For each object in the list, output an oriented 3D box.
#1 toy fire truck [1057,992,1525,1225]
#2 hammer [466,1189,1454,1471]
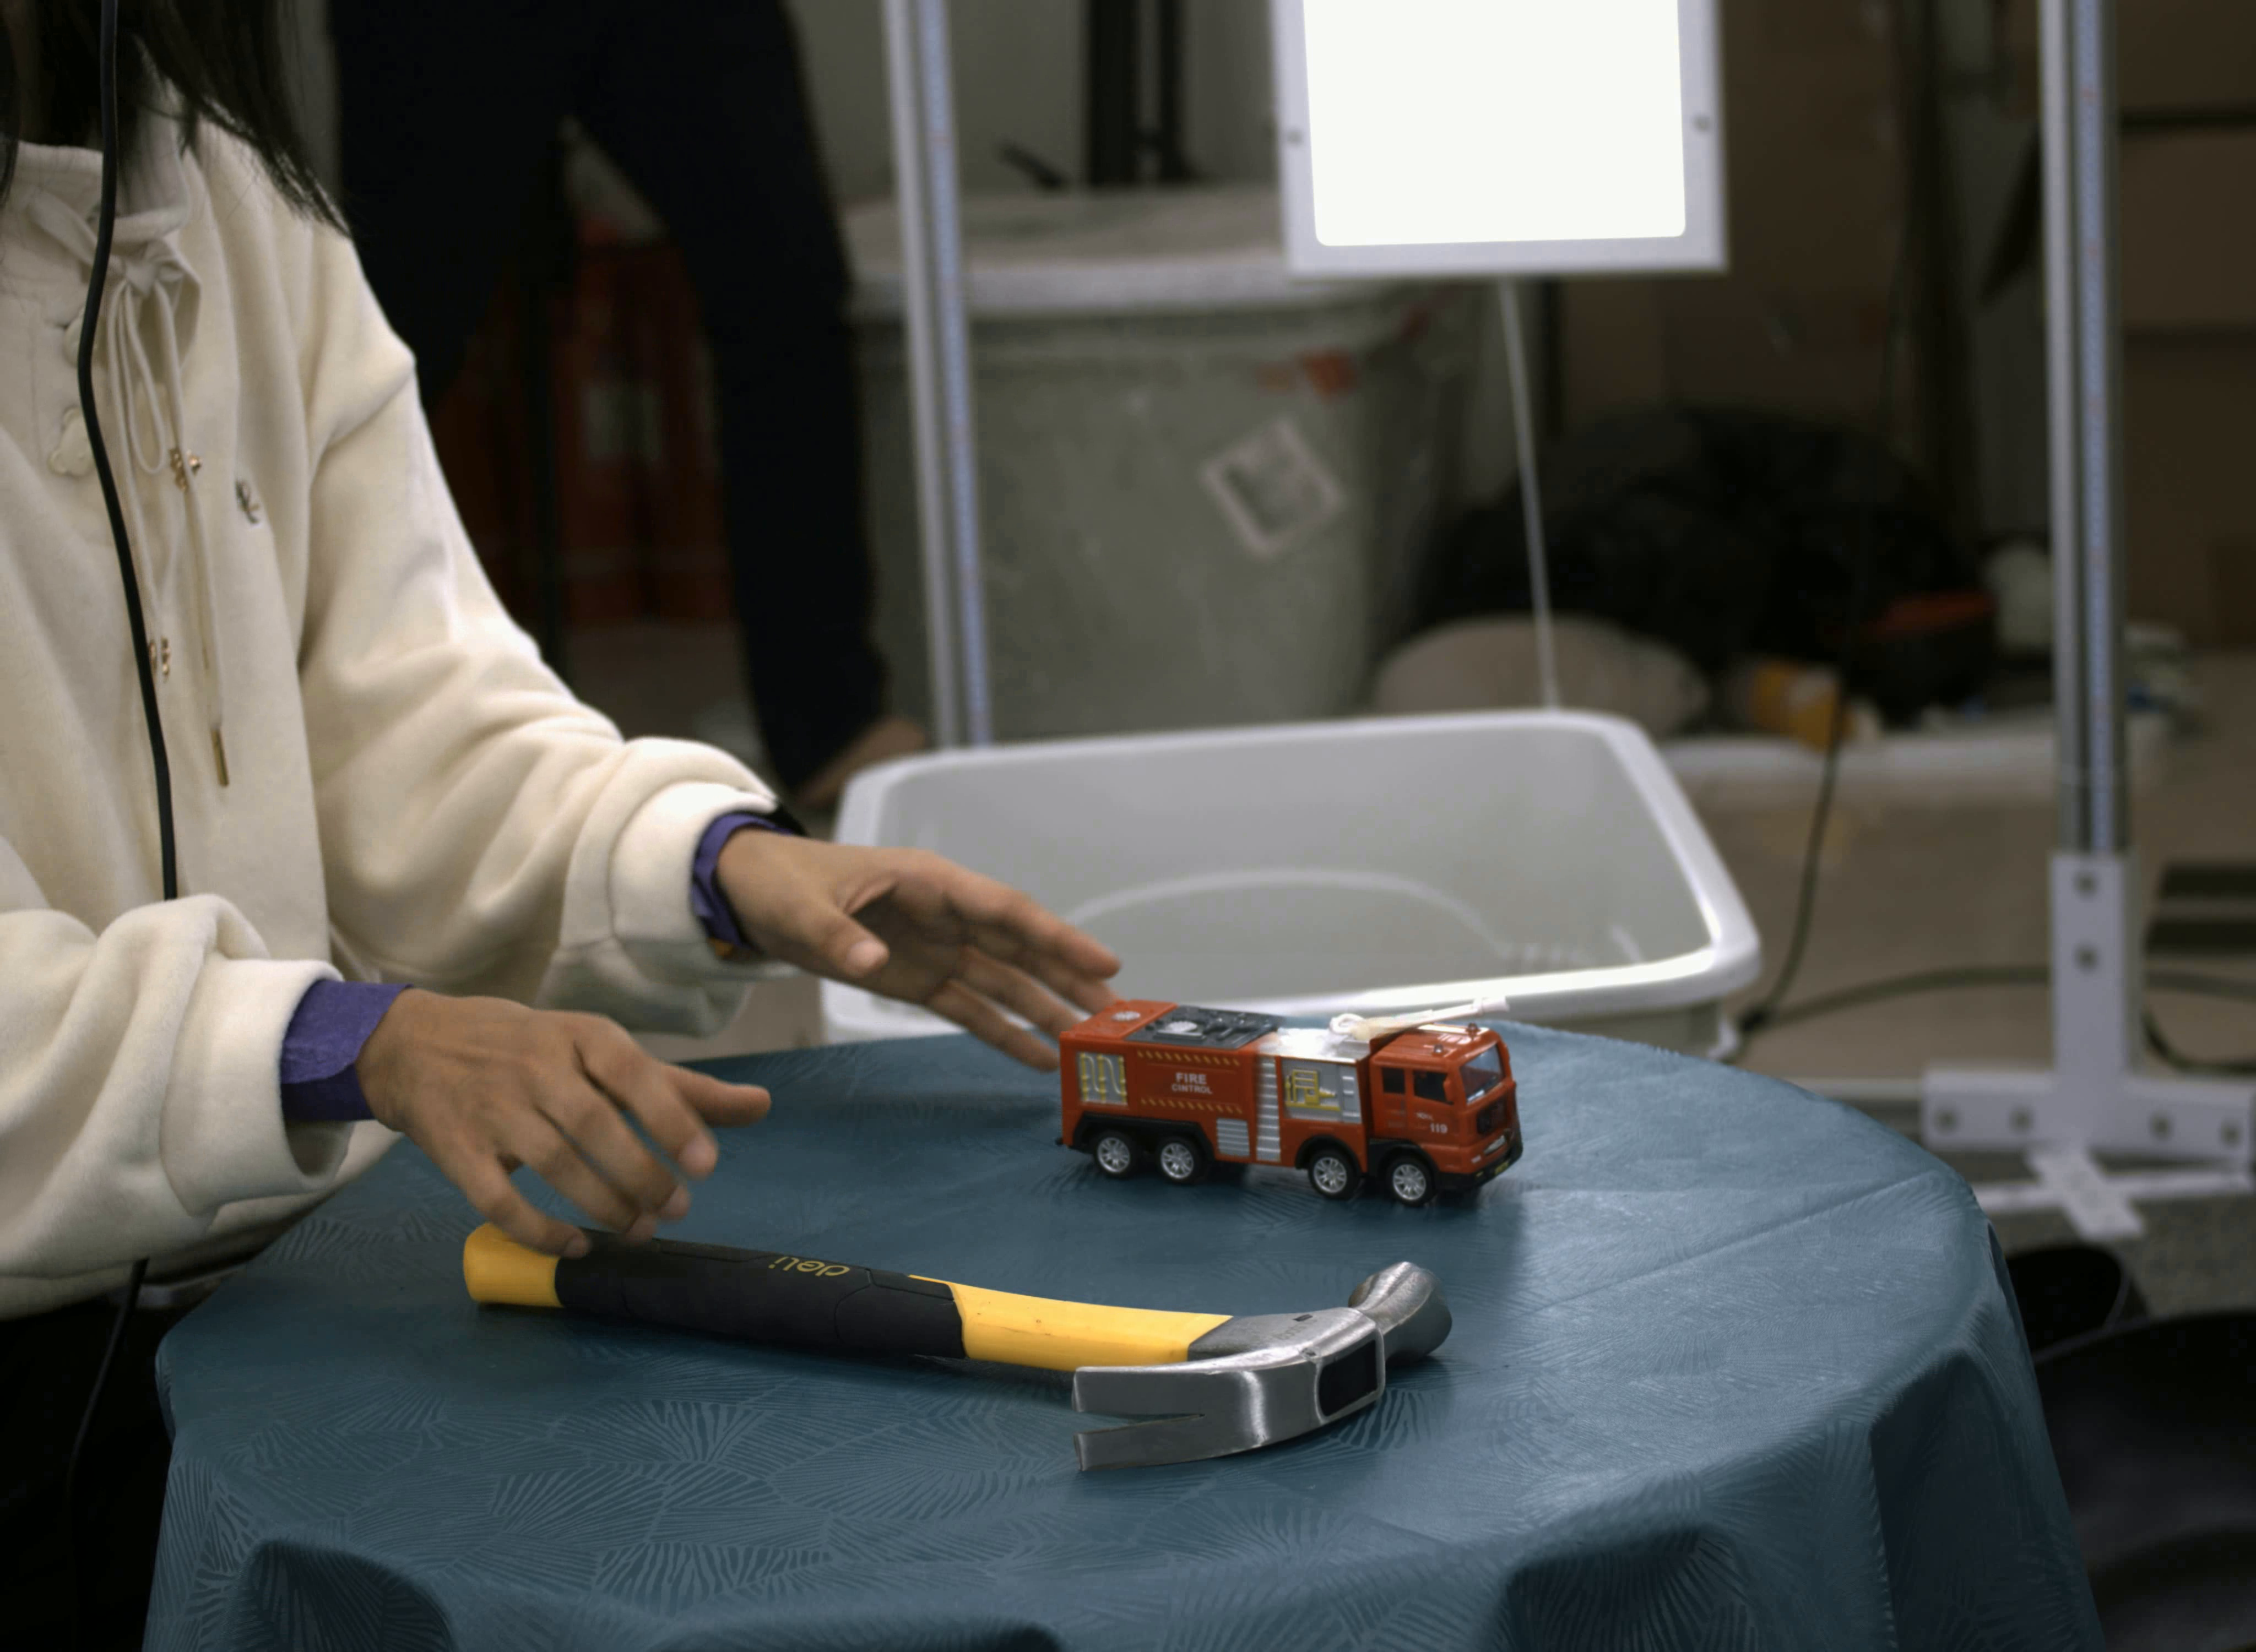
[{"bbox_3d":[0.056,0.093,1.891,0.171,0.070,0.053,2,15,31],"label":"toy fire truck"},{"bbox_3d":[-0.073,0.150,1.749,0.345,0.032,0.128,6,19,35],"label":"hammer"}]
